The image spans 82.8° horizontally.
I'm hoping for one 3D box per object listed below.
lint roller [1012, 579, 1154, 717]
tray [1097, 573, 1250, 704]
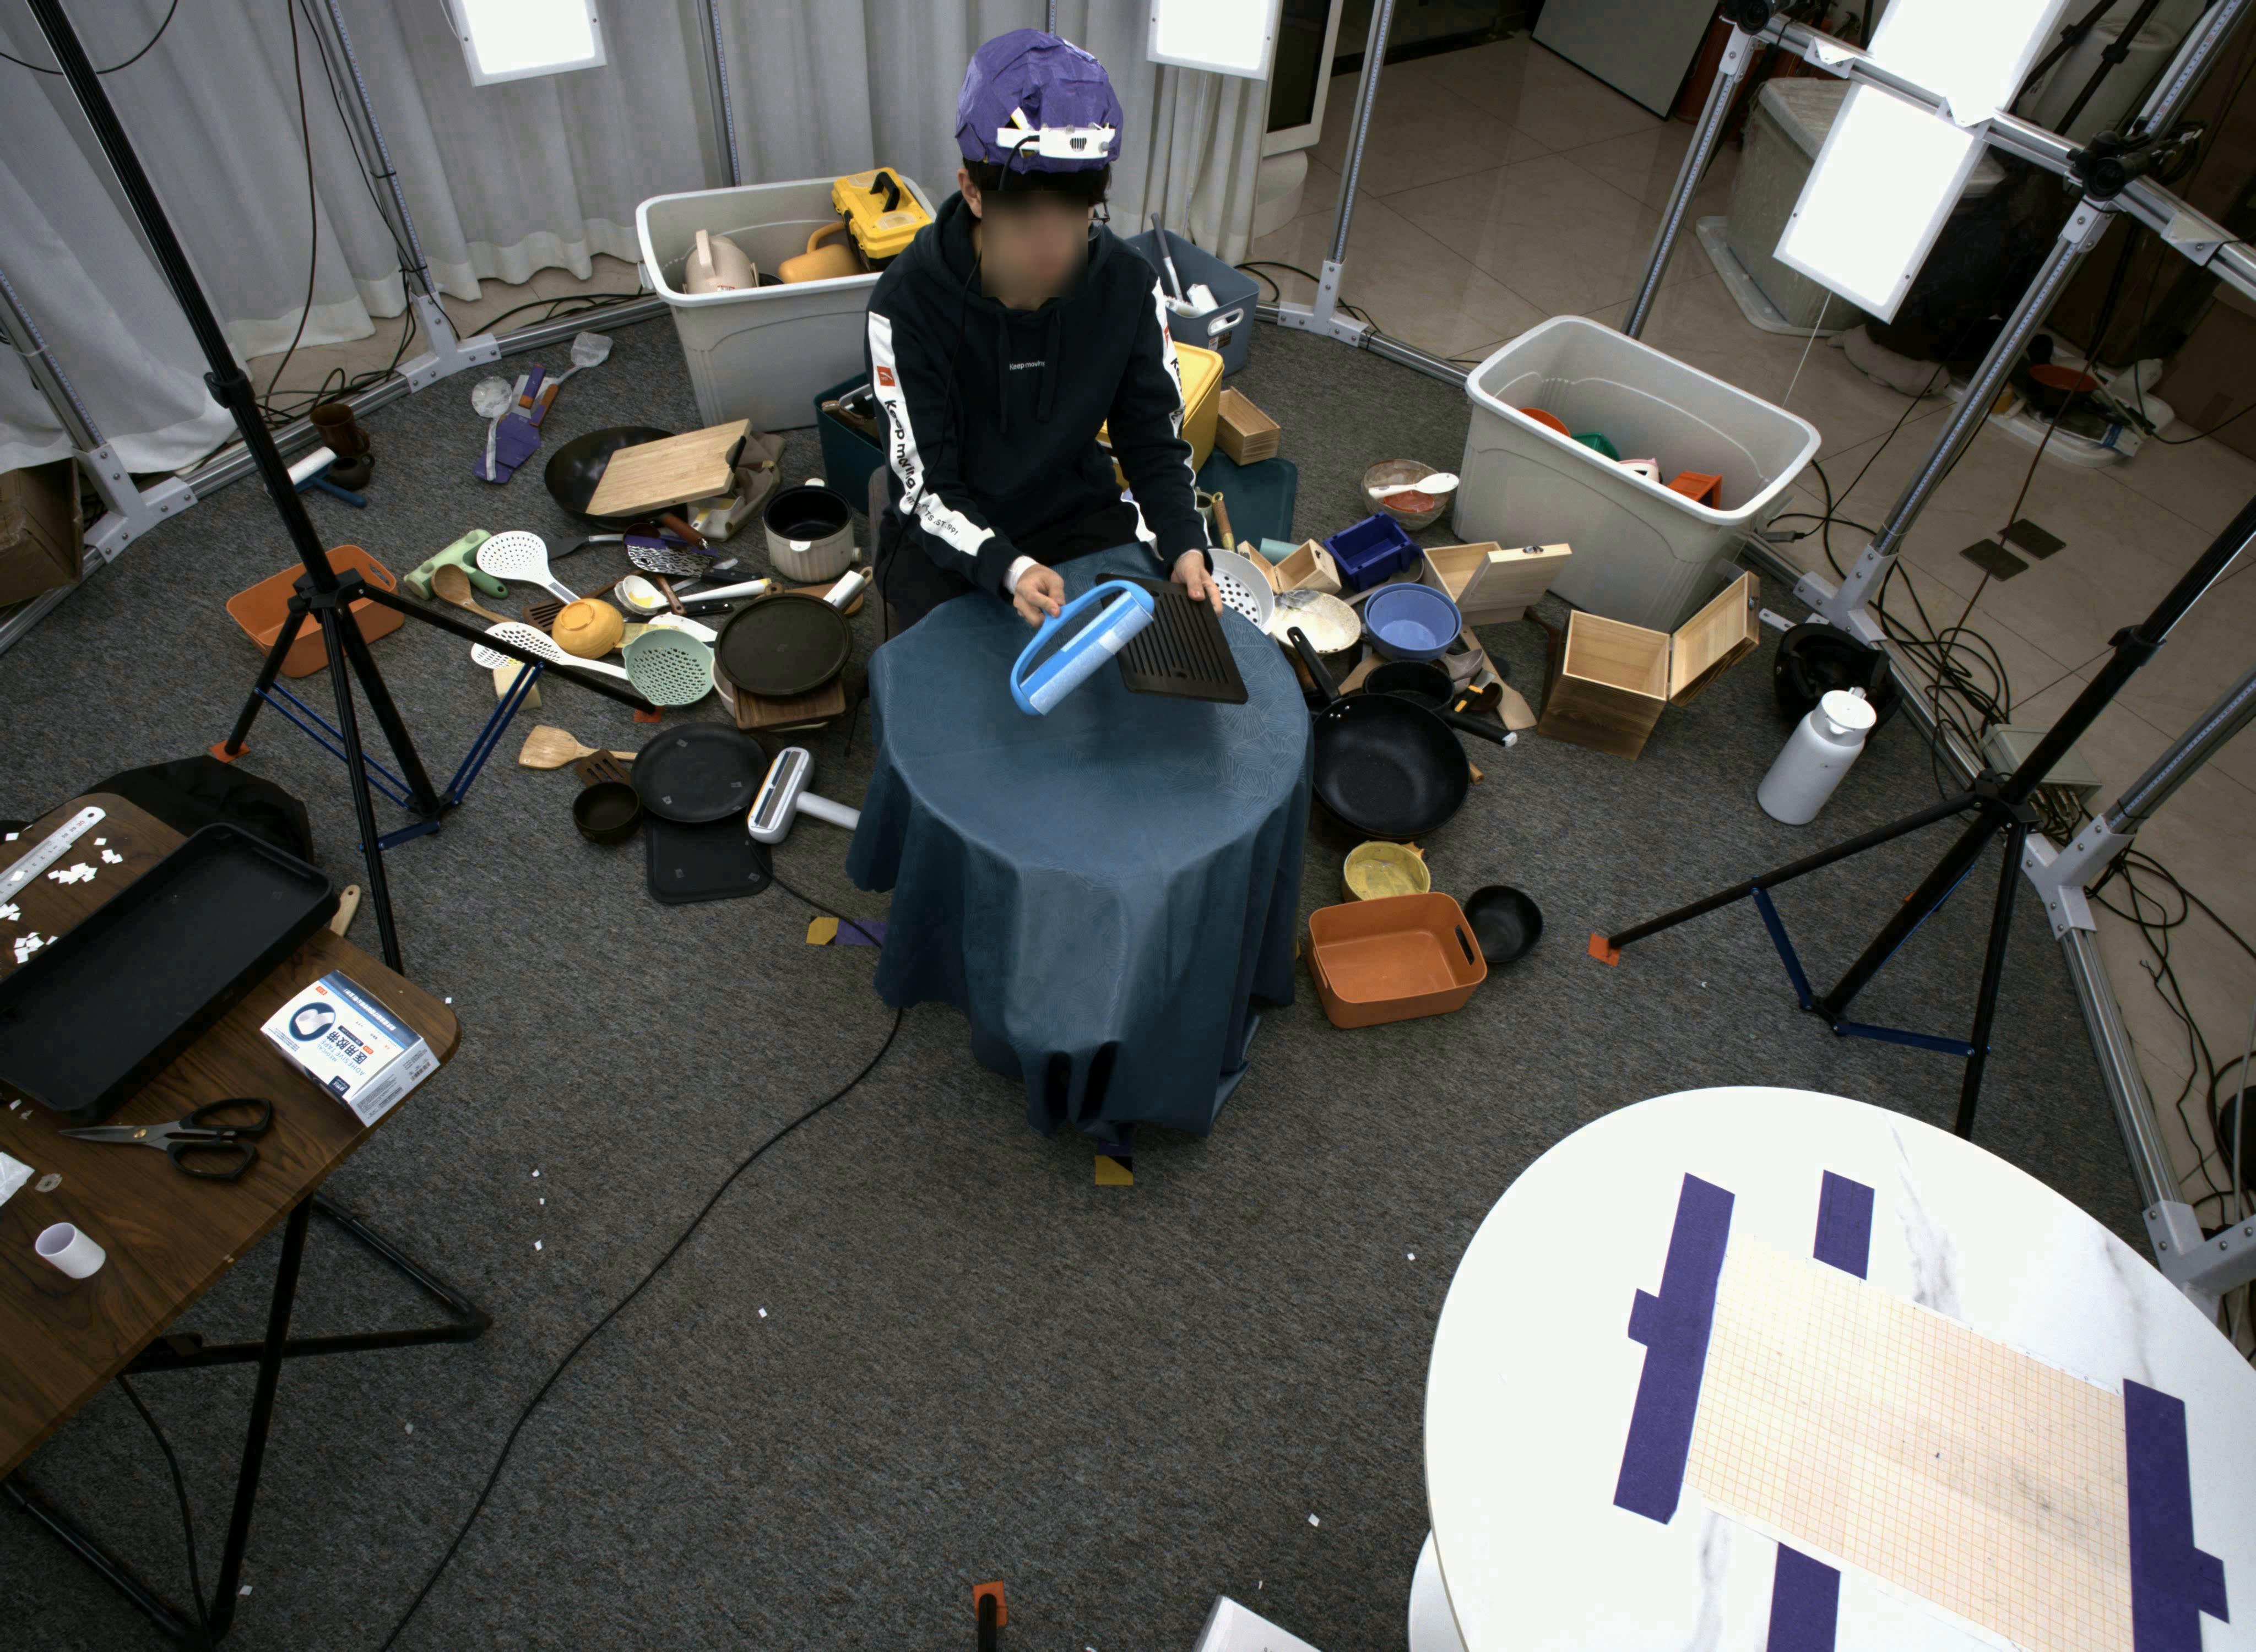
[{"bbox_3d":[-0.086,-0.267,1.739,0.228,0.066,0.184,-45,50,5],"label":"lint roller"},{"bbox_3d":[0.057,-0.262,1.786,0.169,0.018,0.313,5,37,-14],"label":"tray"}]
